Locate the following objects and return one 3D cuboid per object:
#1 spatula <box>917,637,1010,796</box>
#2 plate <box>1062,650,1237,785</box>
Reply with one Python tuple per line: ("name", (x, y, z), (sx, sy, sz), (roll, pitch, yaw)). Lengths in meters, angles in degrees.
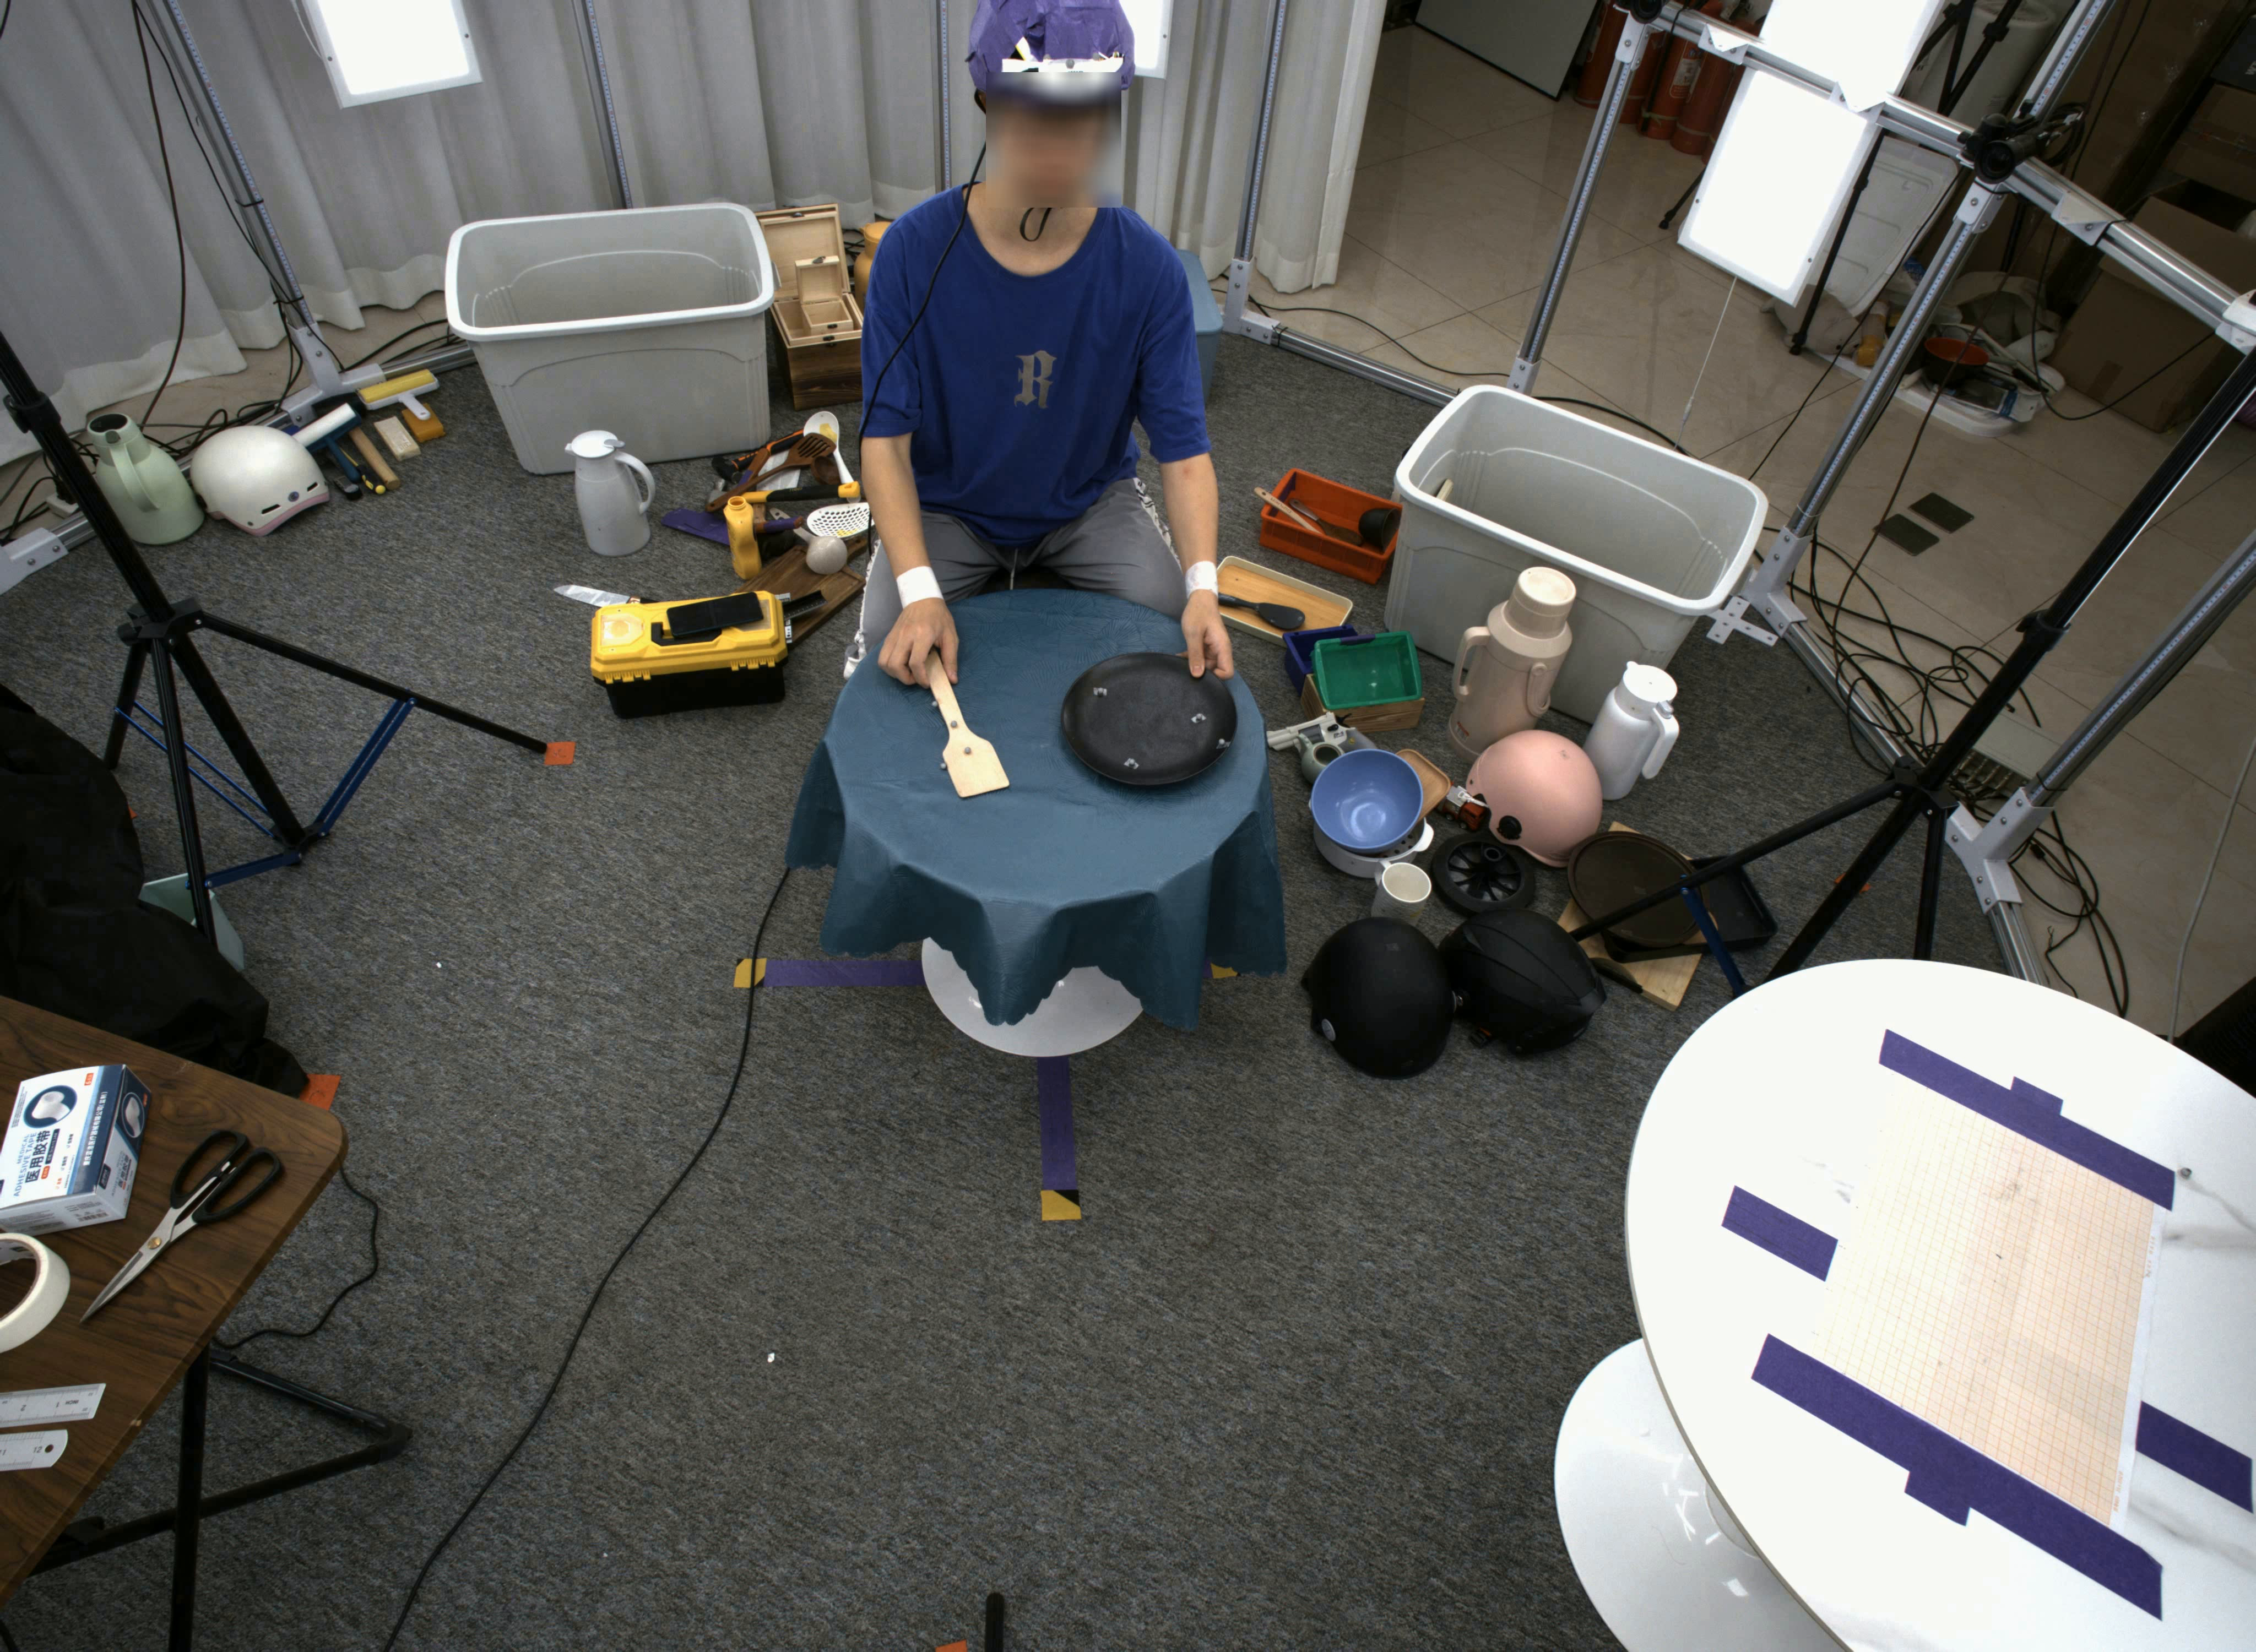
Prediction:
("spatula", (-0.242, -0.158, 1.783), (0.072, 0.010, 0.300), (-15, 55, -15))
("plate", (0.029, -0.149, 1.778), (0.244, 0.023, 0.250), (-1, 53, 1))
